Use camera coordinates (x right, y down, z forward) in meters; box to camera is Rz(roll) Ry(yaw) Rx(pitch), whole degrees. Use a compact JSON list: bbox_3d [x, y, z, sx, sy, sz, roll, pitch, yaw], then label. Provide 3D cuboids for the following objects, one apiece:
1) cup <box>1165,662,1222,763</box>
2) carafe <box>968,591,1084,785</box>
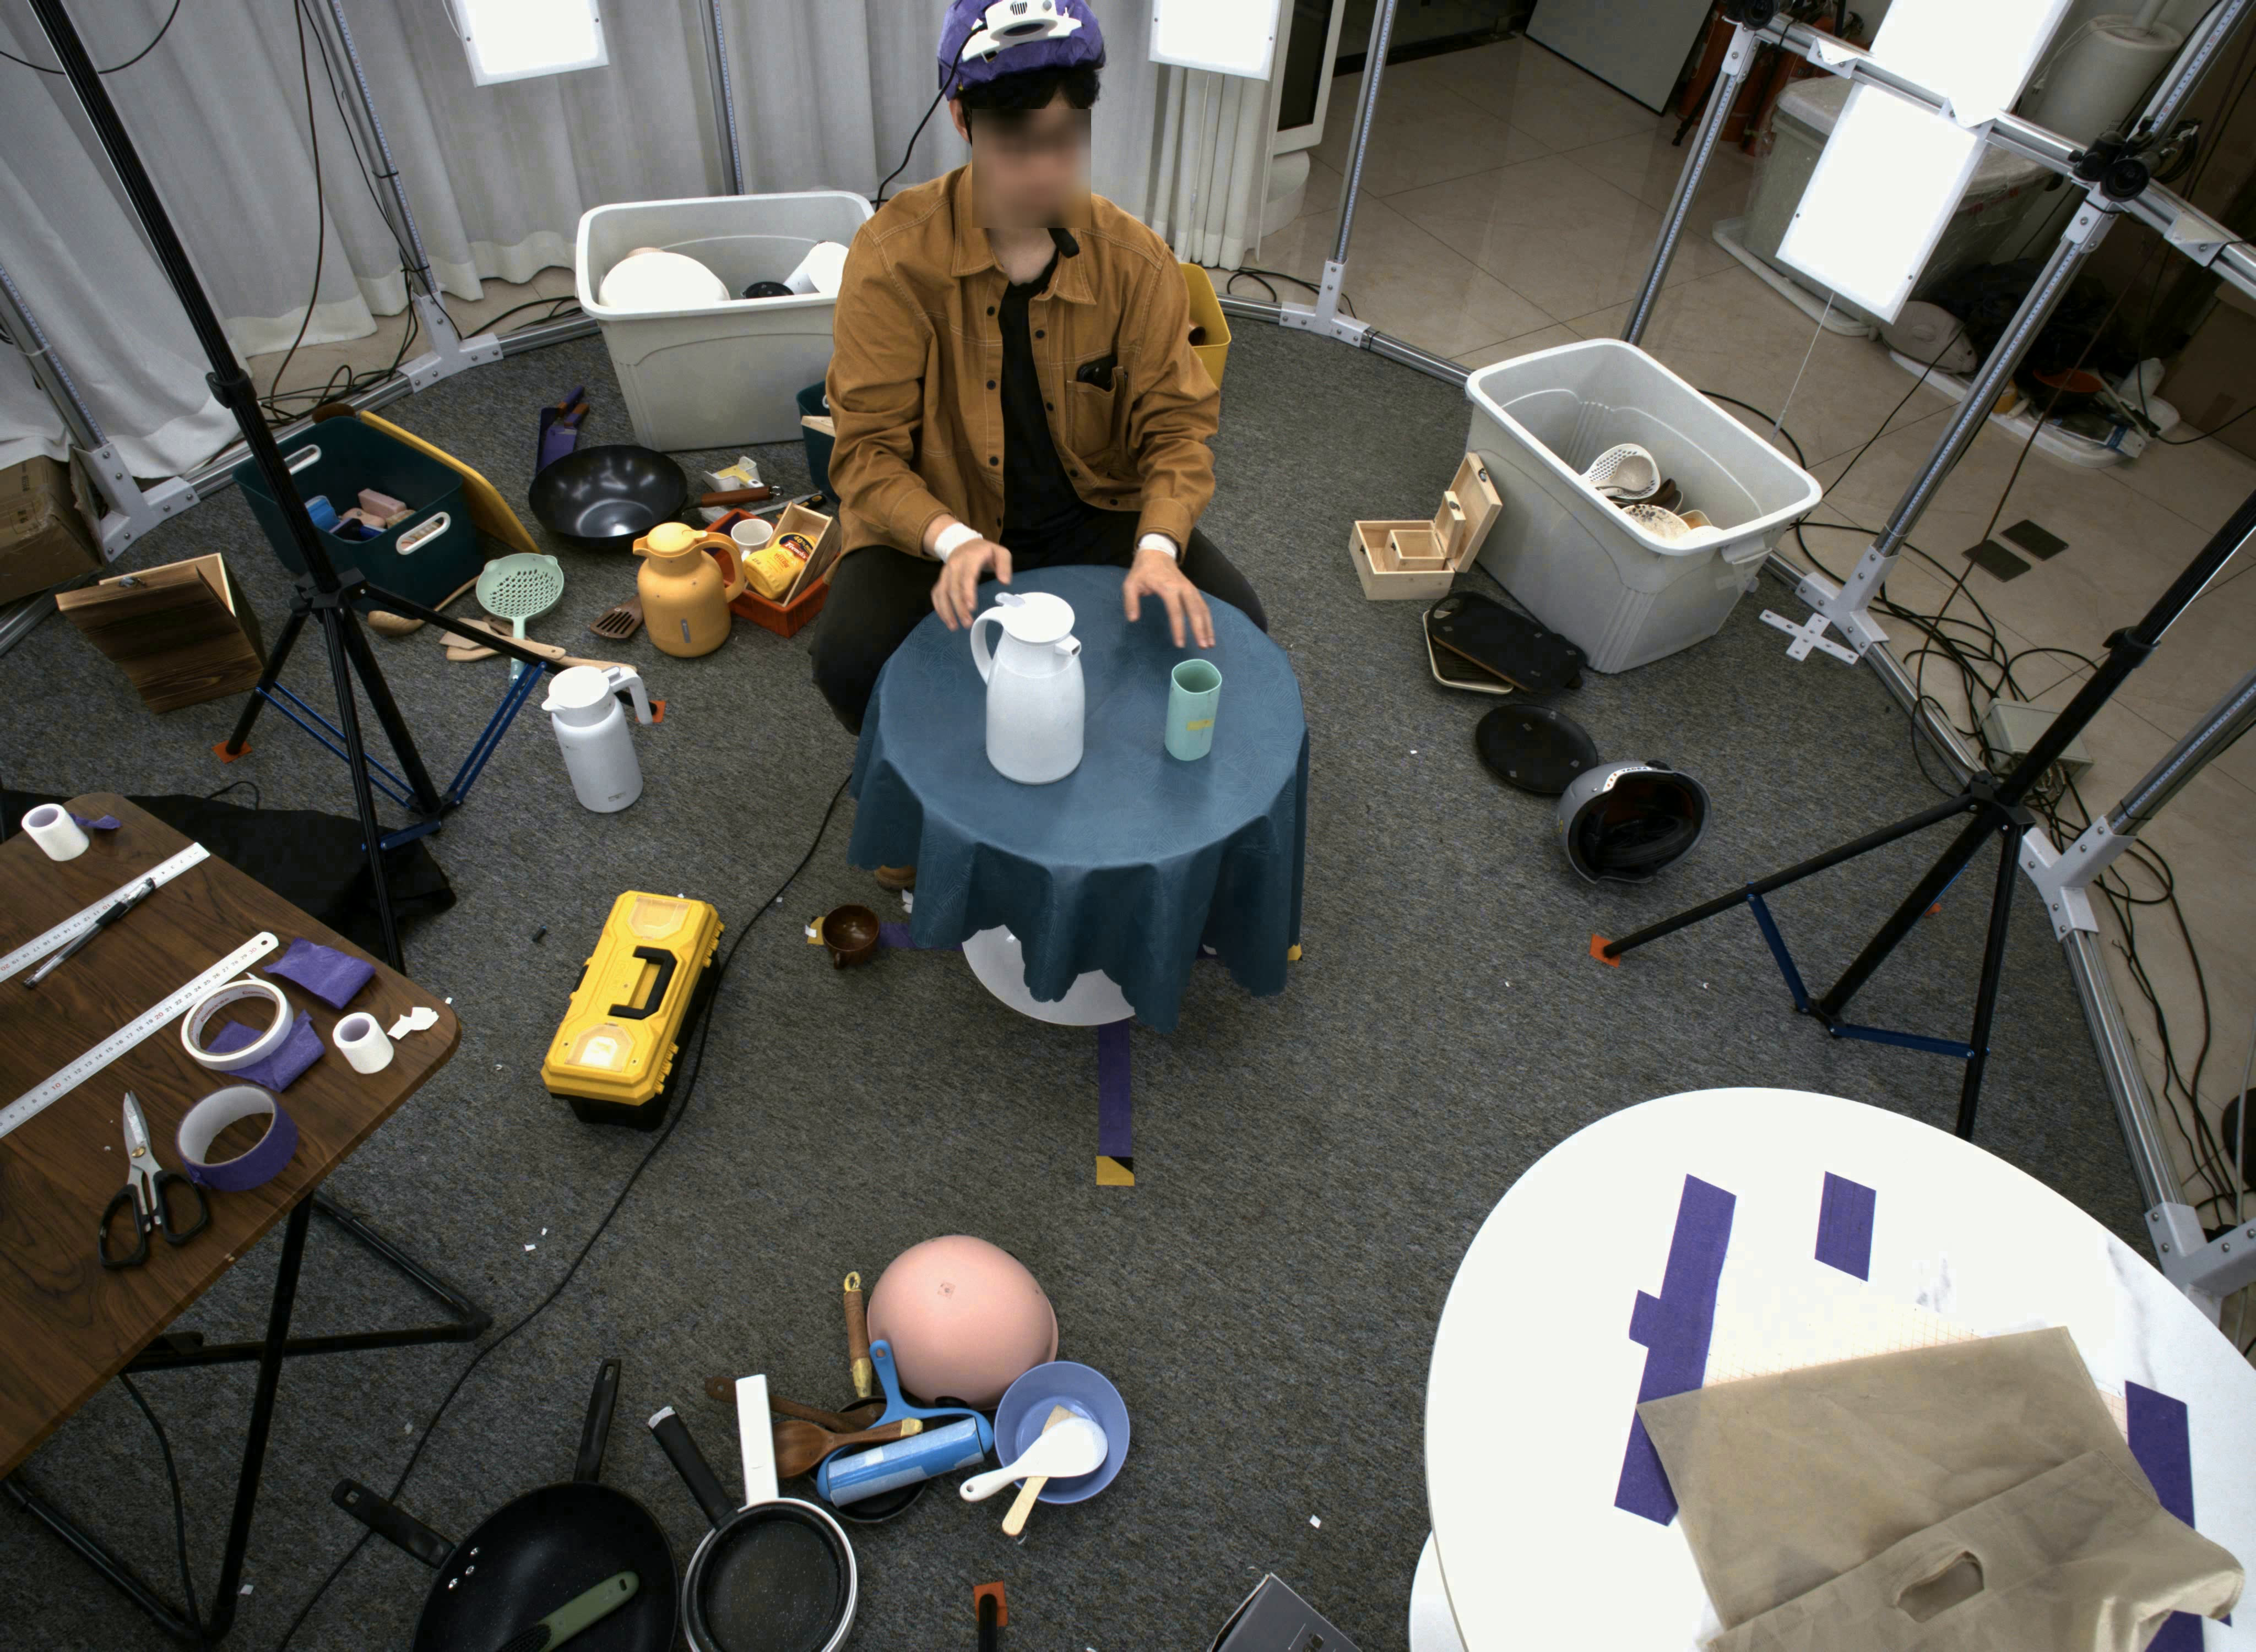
[{"bbox_3d":[0.086,-0.153,1.727,0.066,0.129,0.068,2,49,-3],"label":"cup"},{"bbox_3d":[-0.137,-0.191,1.667,0.169,0.242,0.134,30,54,21],"label":"carafe"}]
